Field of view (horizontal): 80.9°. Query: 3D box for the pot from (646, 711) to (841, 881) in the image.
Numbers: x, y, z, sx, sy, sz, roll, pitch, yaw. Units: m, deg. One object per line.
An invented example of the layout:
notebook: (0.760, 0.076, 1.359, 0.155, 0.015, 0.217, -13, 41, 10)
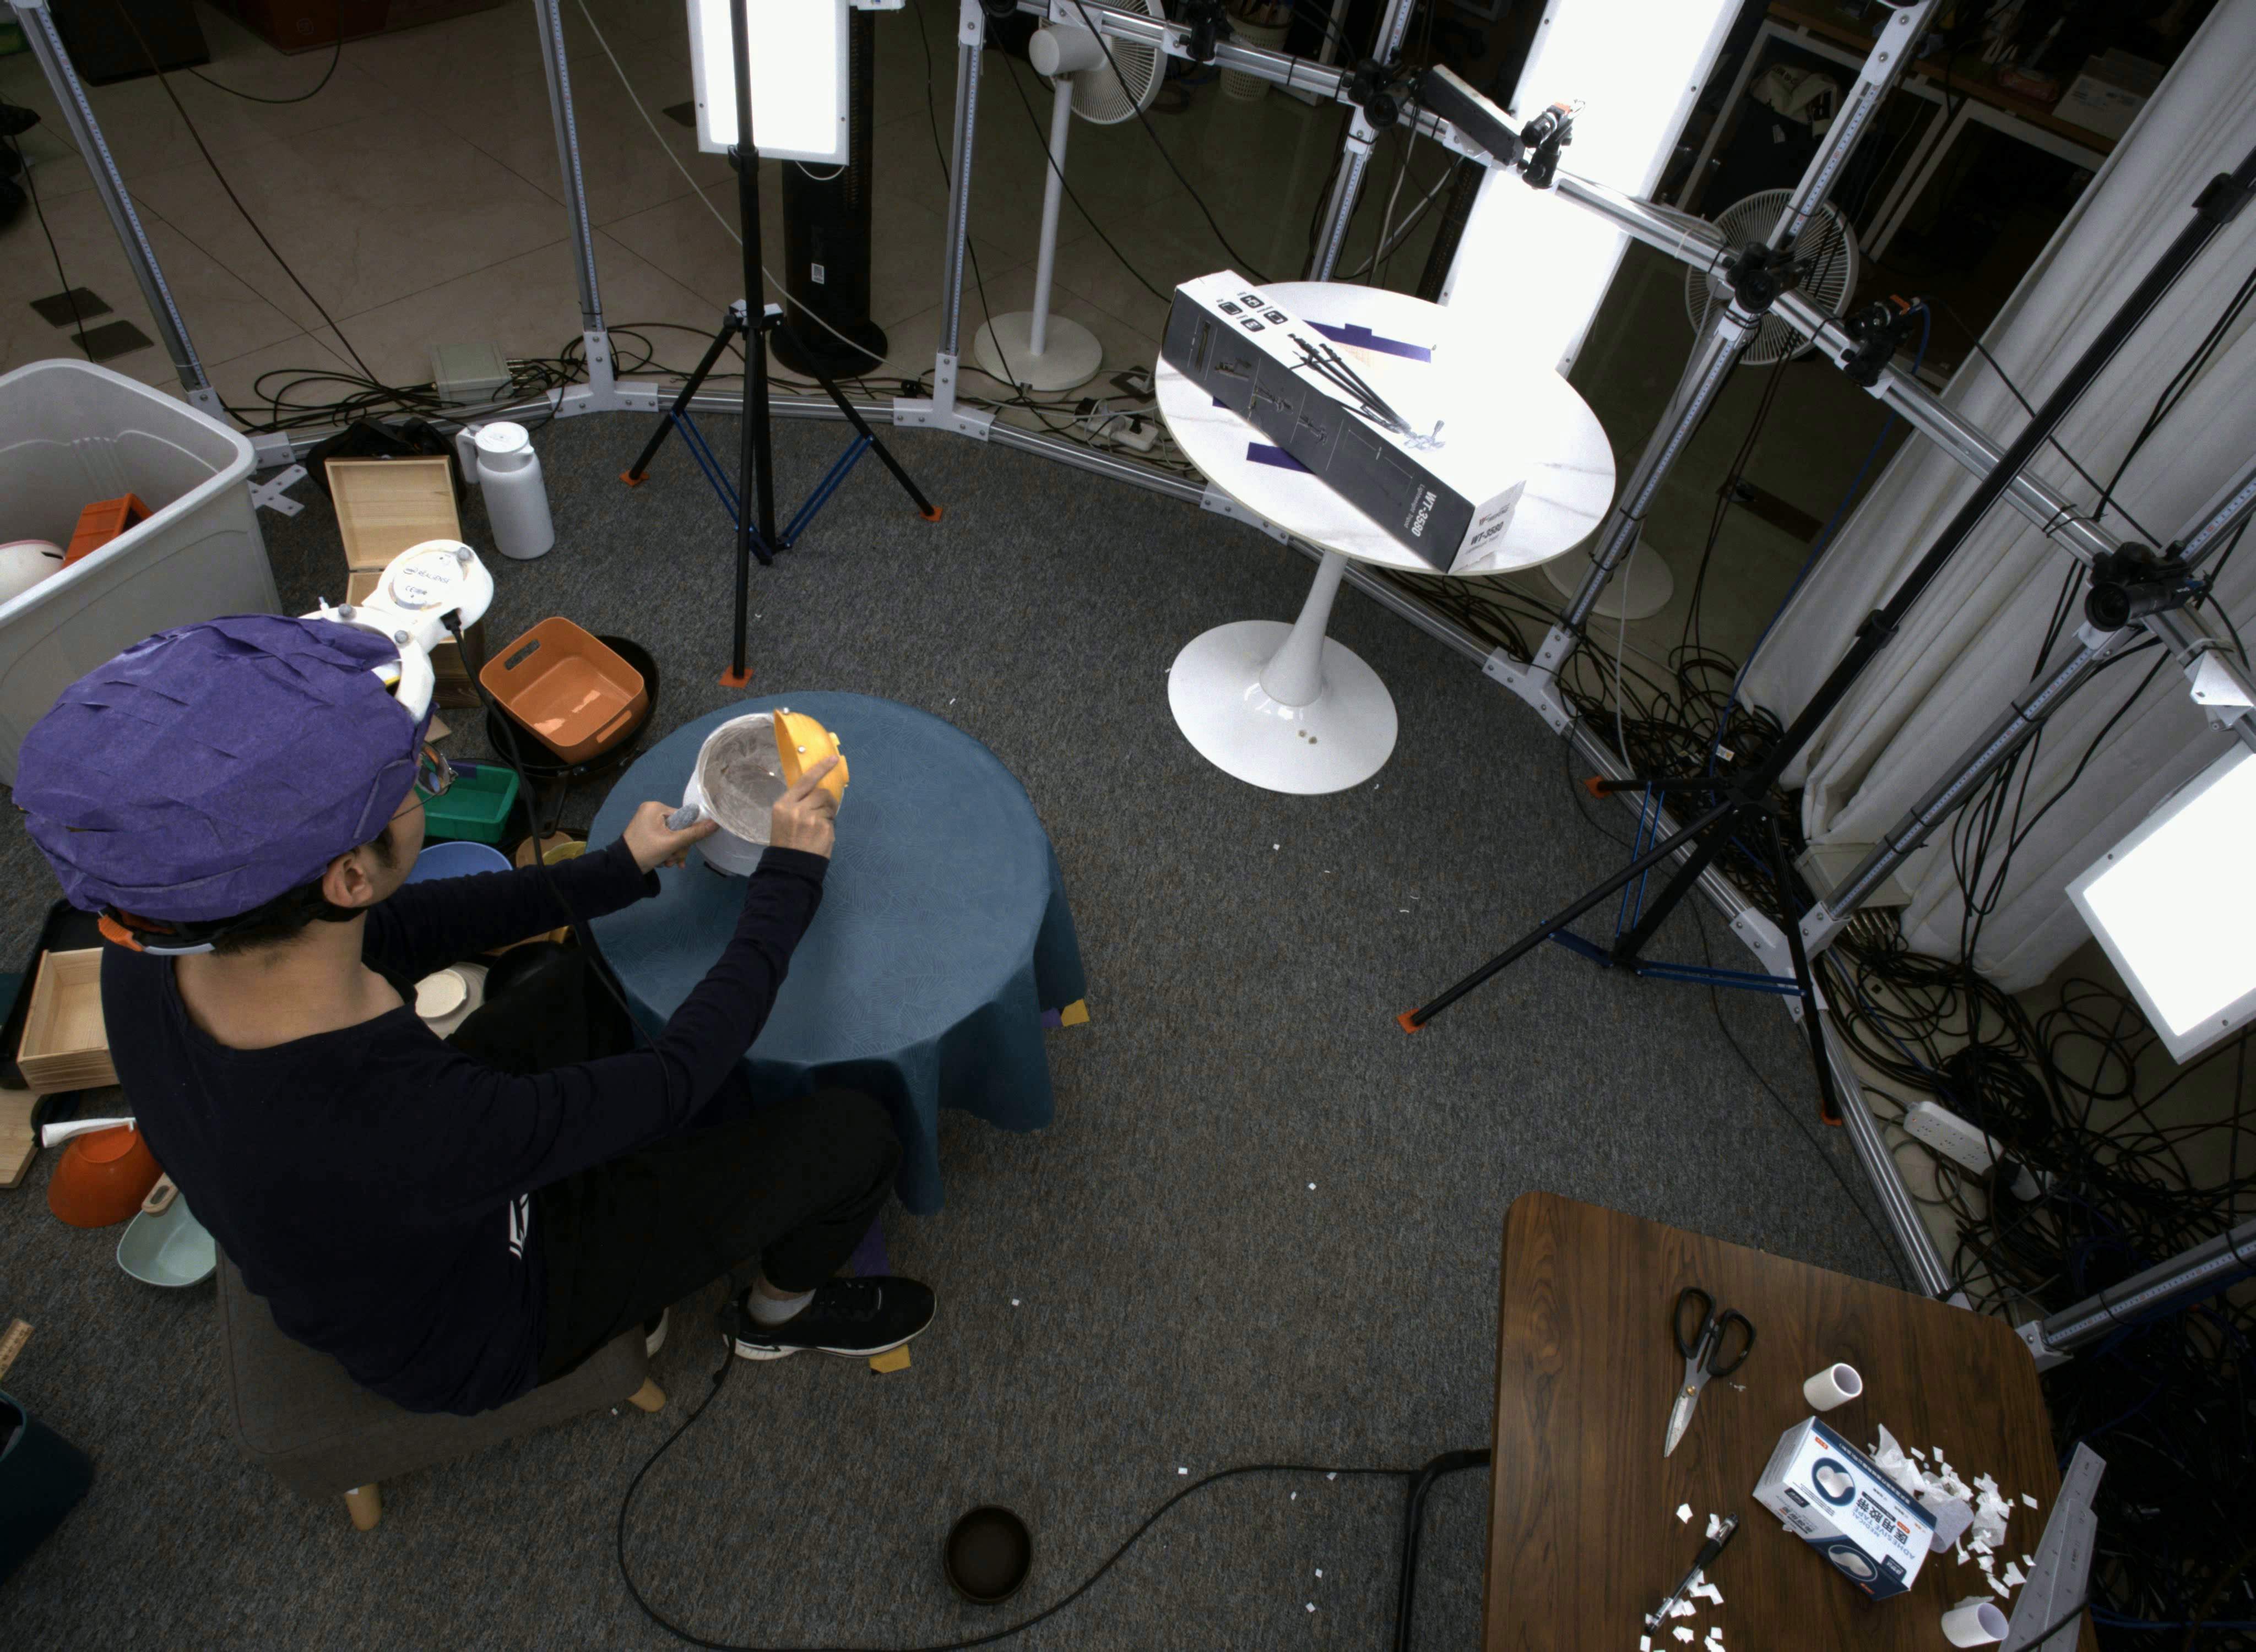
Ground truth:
pot: (-0.477, -0.022, 1.587, 0.235, 0.136, 0.178, -29, 82, -33)

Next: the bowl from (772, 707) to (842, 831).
bowl: (-0.374, -0.072, 1.522, 0.060, 0.148, 0.141, -12, 56, -24)
